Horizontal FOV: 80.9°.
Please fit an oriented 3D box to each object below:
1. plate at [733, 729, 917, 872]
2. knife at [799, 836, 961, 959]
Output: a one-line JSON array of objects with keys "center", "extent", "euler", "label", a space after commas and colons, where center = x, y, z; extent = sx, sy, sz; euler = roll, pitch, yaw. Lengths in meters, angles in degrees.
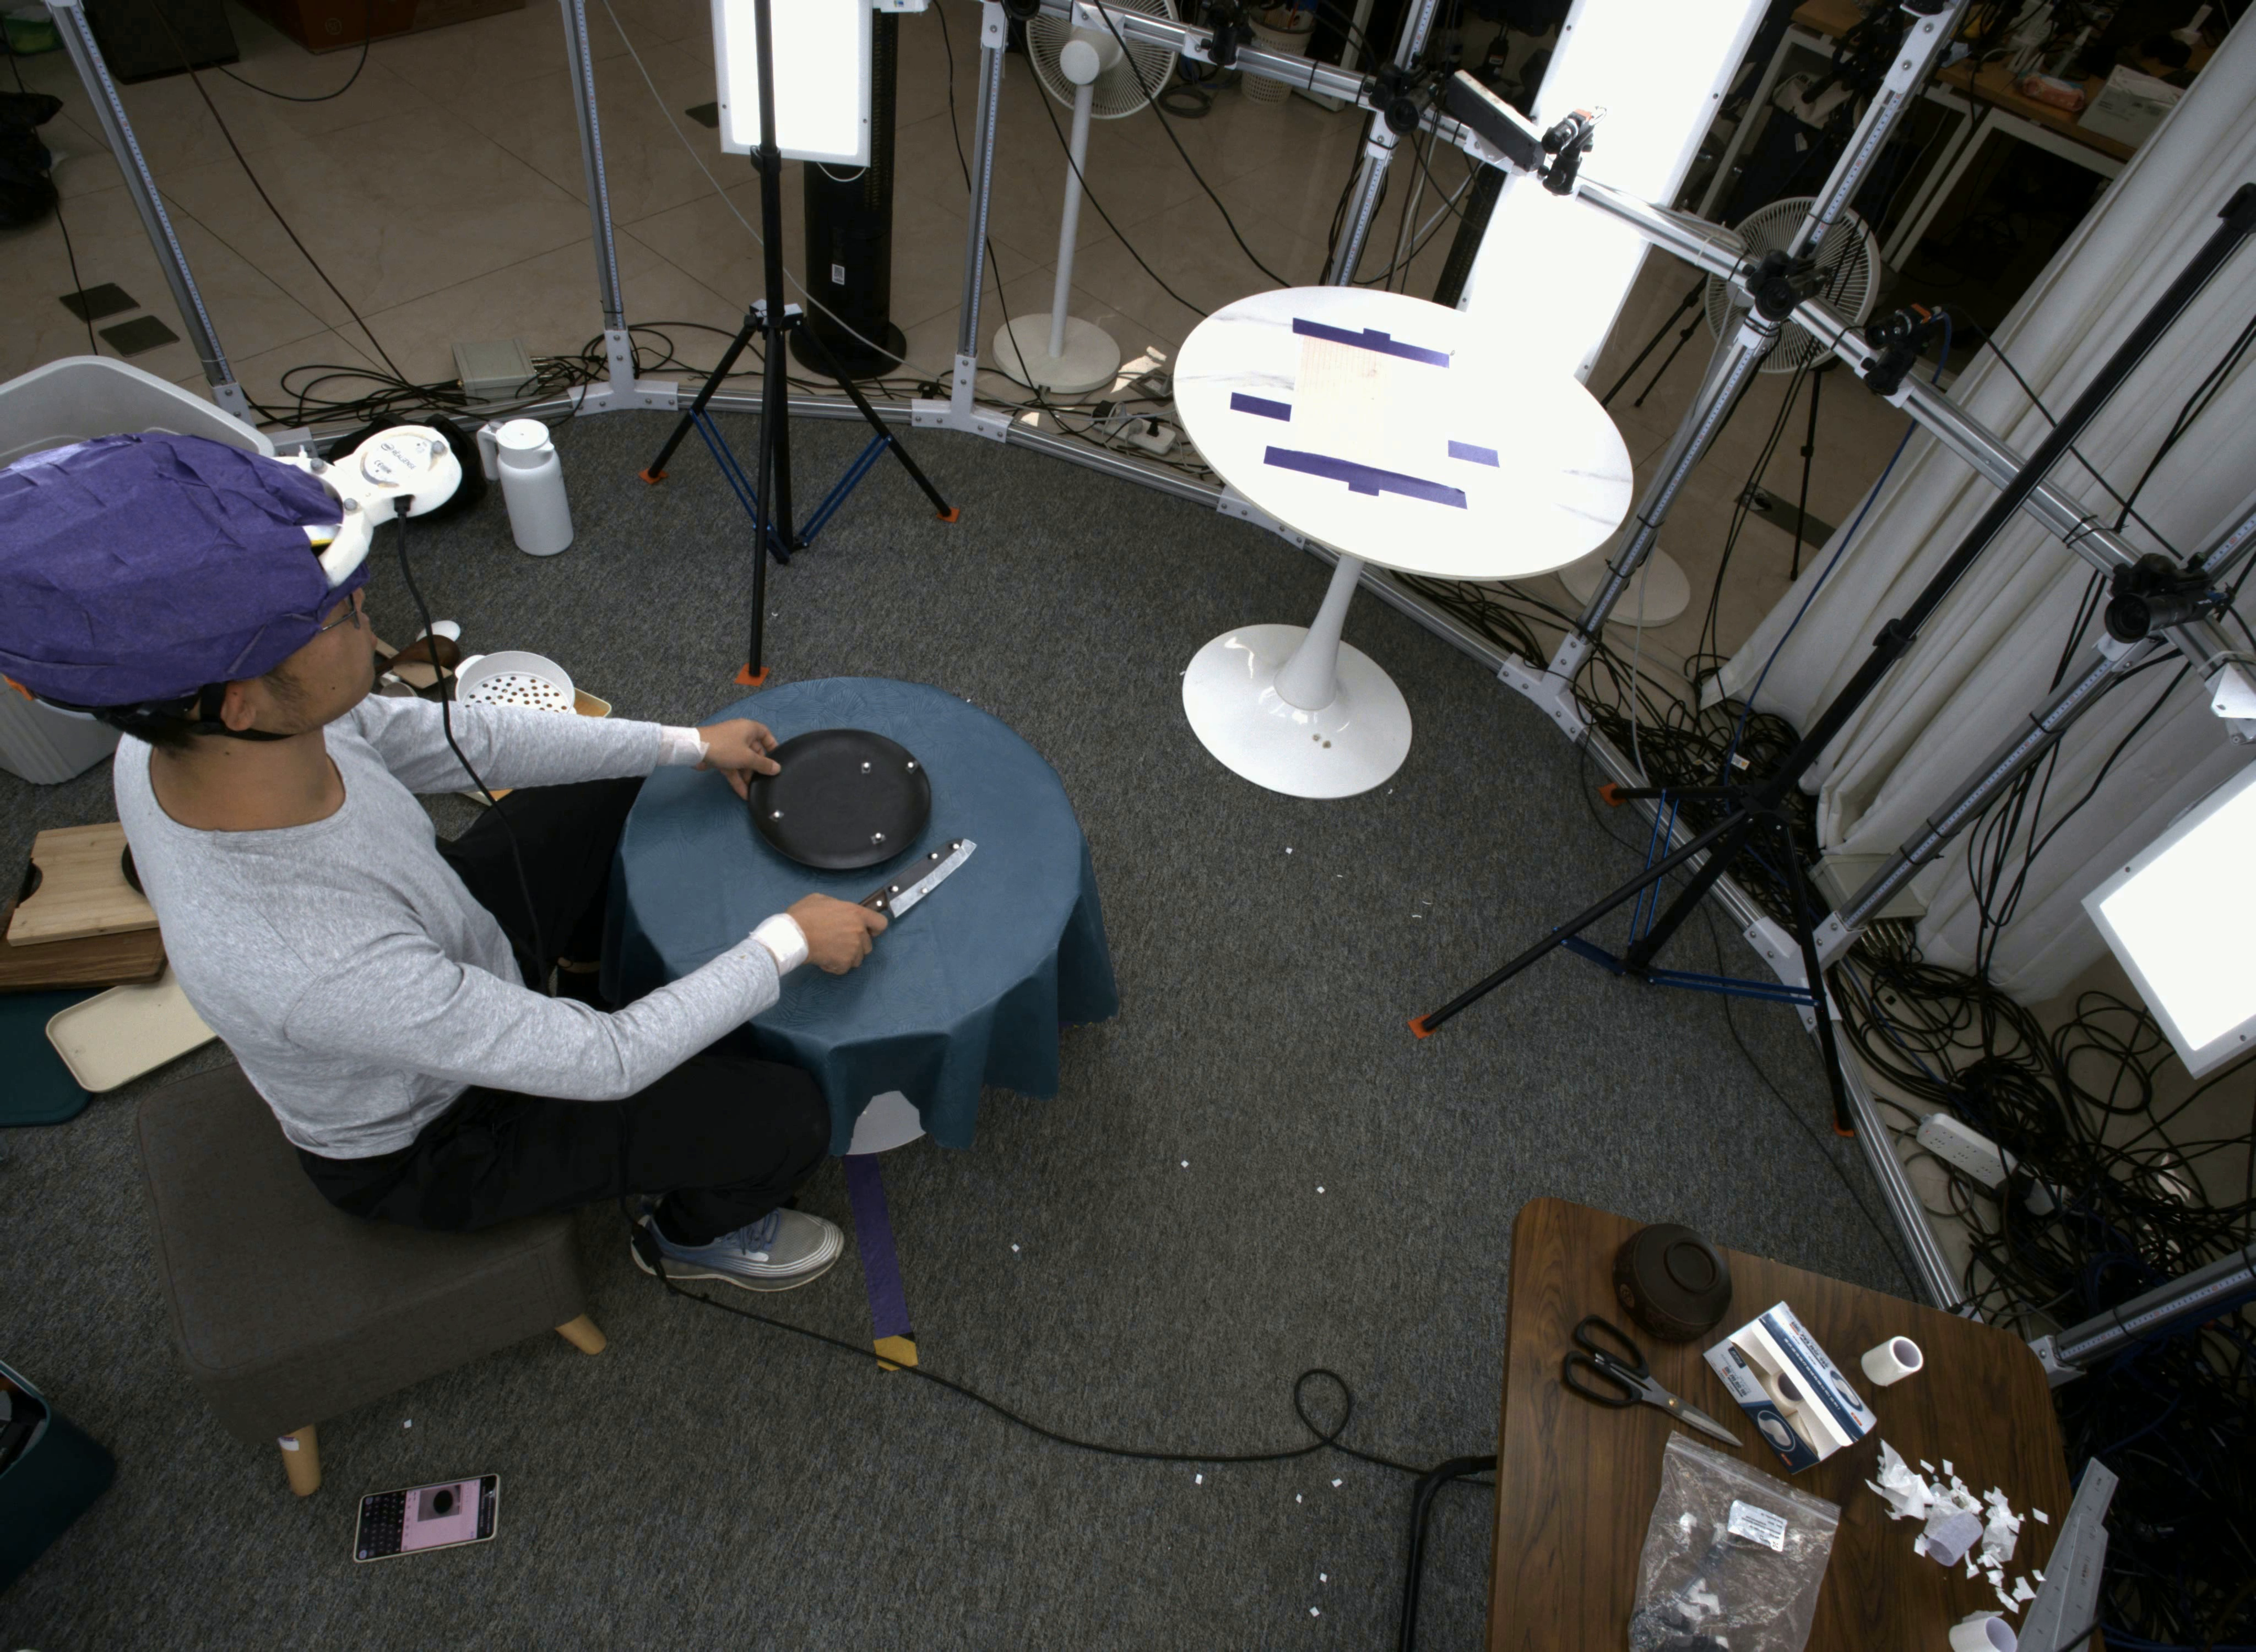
[{"center": [-0.407, -0.033, 1.749], "extent": [0.244, 0.024, 0.240], "euler": [8, 53, -9], "label": "plate"}, {"center": [-0.310, 0.085, 1.665], "extent": [0.019, 0.052, 0.289], "euler": [-3, 25, 41], "label": "knife"}]
